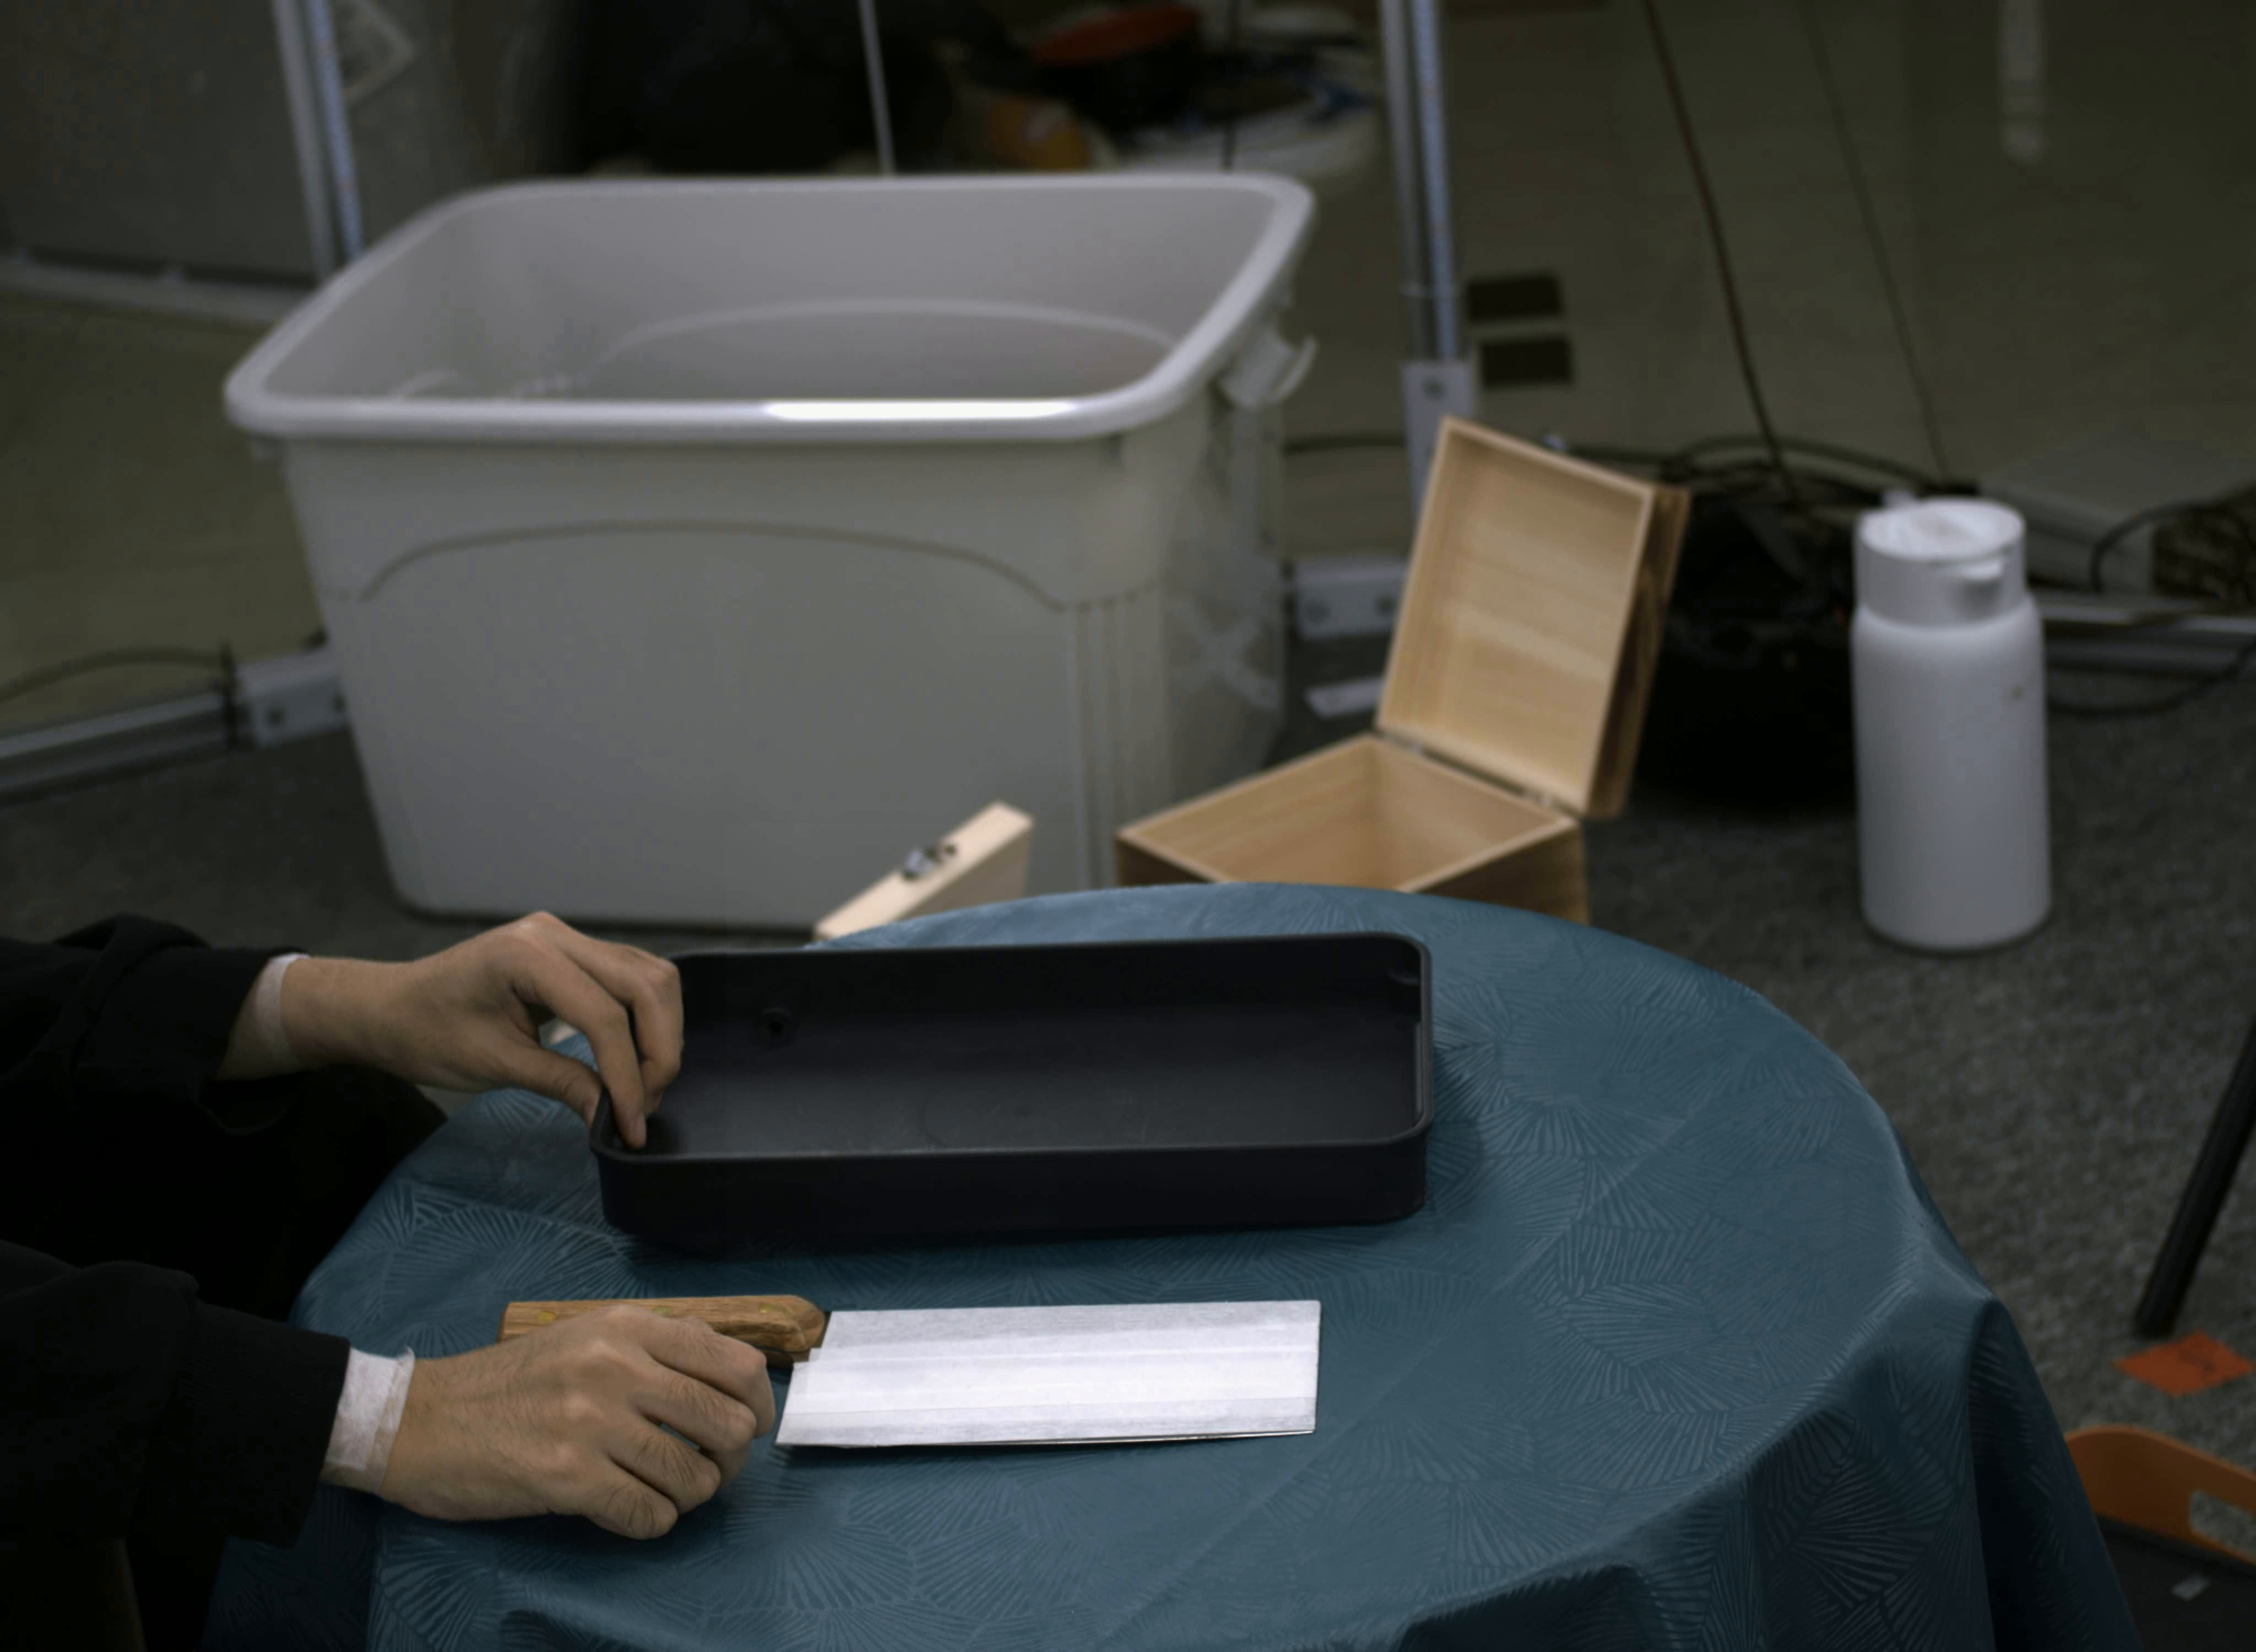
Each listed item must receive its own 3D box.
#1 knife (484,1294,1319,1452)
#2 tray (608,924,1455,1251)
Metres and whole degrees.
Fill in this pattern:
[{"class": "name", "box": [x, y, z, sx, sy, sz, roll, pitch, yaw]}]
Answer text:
[{"class": "knife", "box": [-0.084, 0.196, 2.028, 0.305, 0.021, 0.091, -2, 27, 4]}, {"class": "tray", "box": [-0.035, 0.099, 2.182, 0.317, 0.037, 0.181, -3, 25, 2]}]
